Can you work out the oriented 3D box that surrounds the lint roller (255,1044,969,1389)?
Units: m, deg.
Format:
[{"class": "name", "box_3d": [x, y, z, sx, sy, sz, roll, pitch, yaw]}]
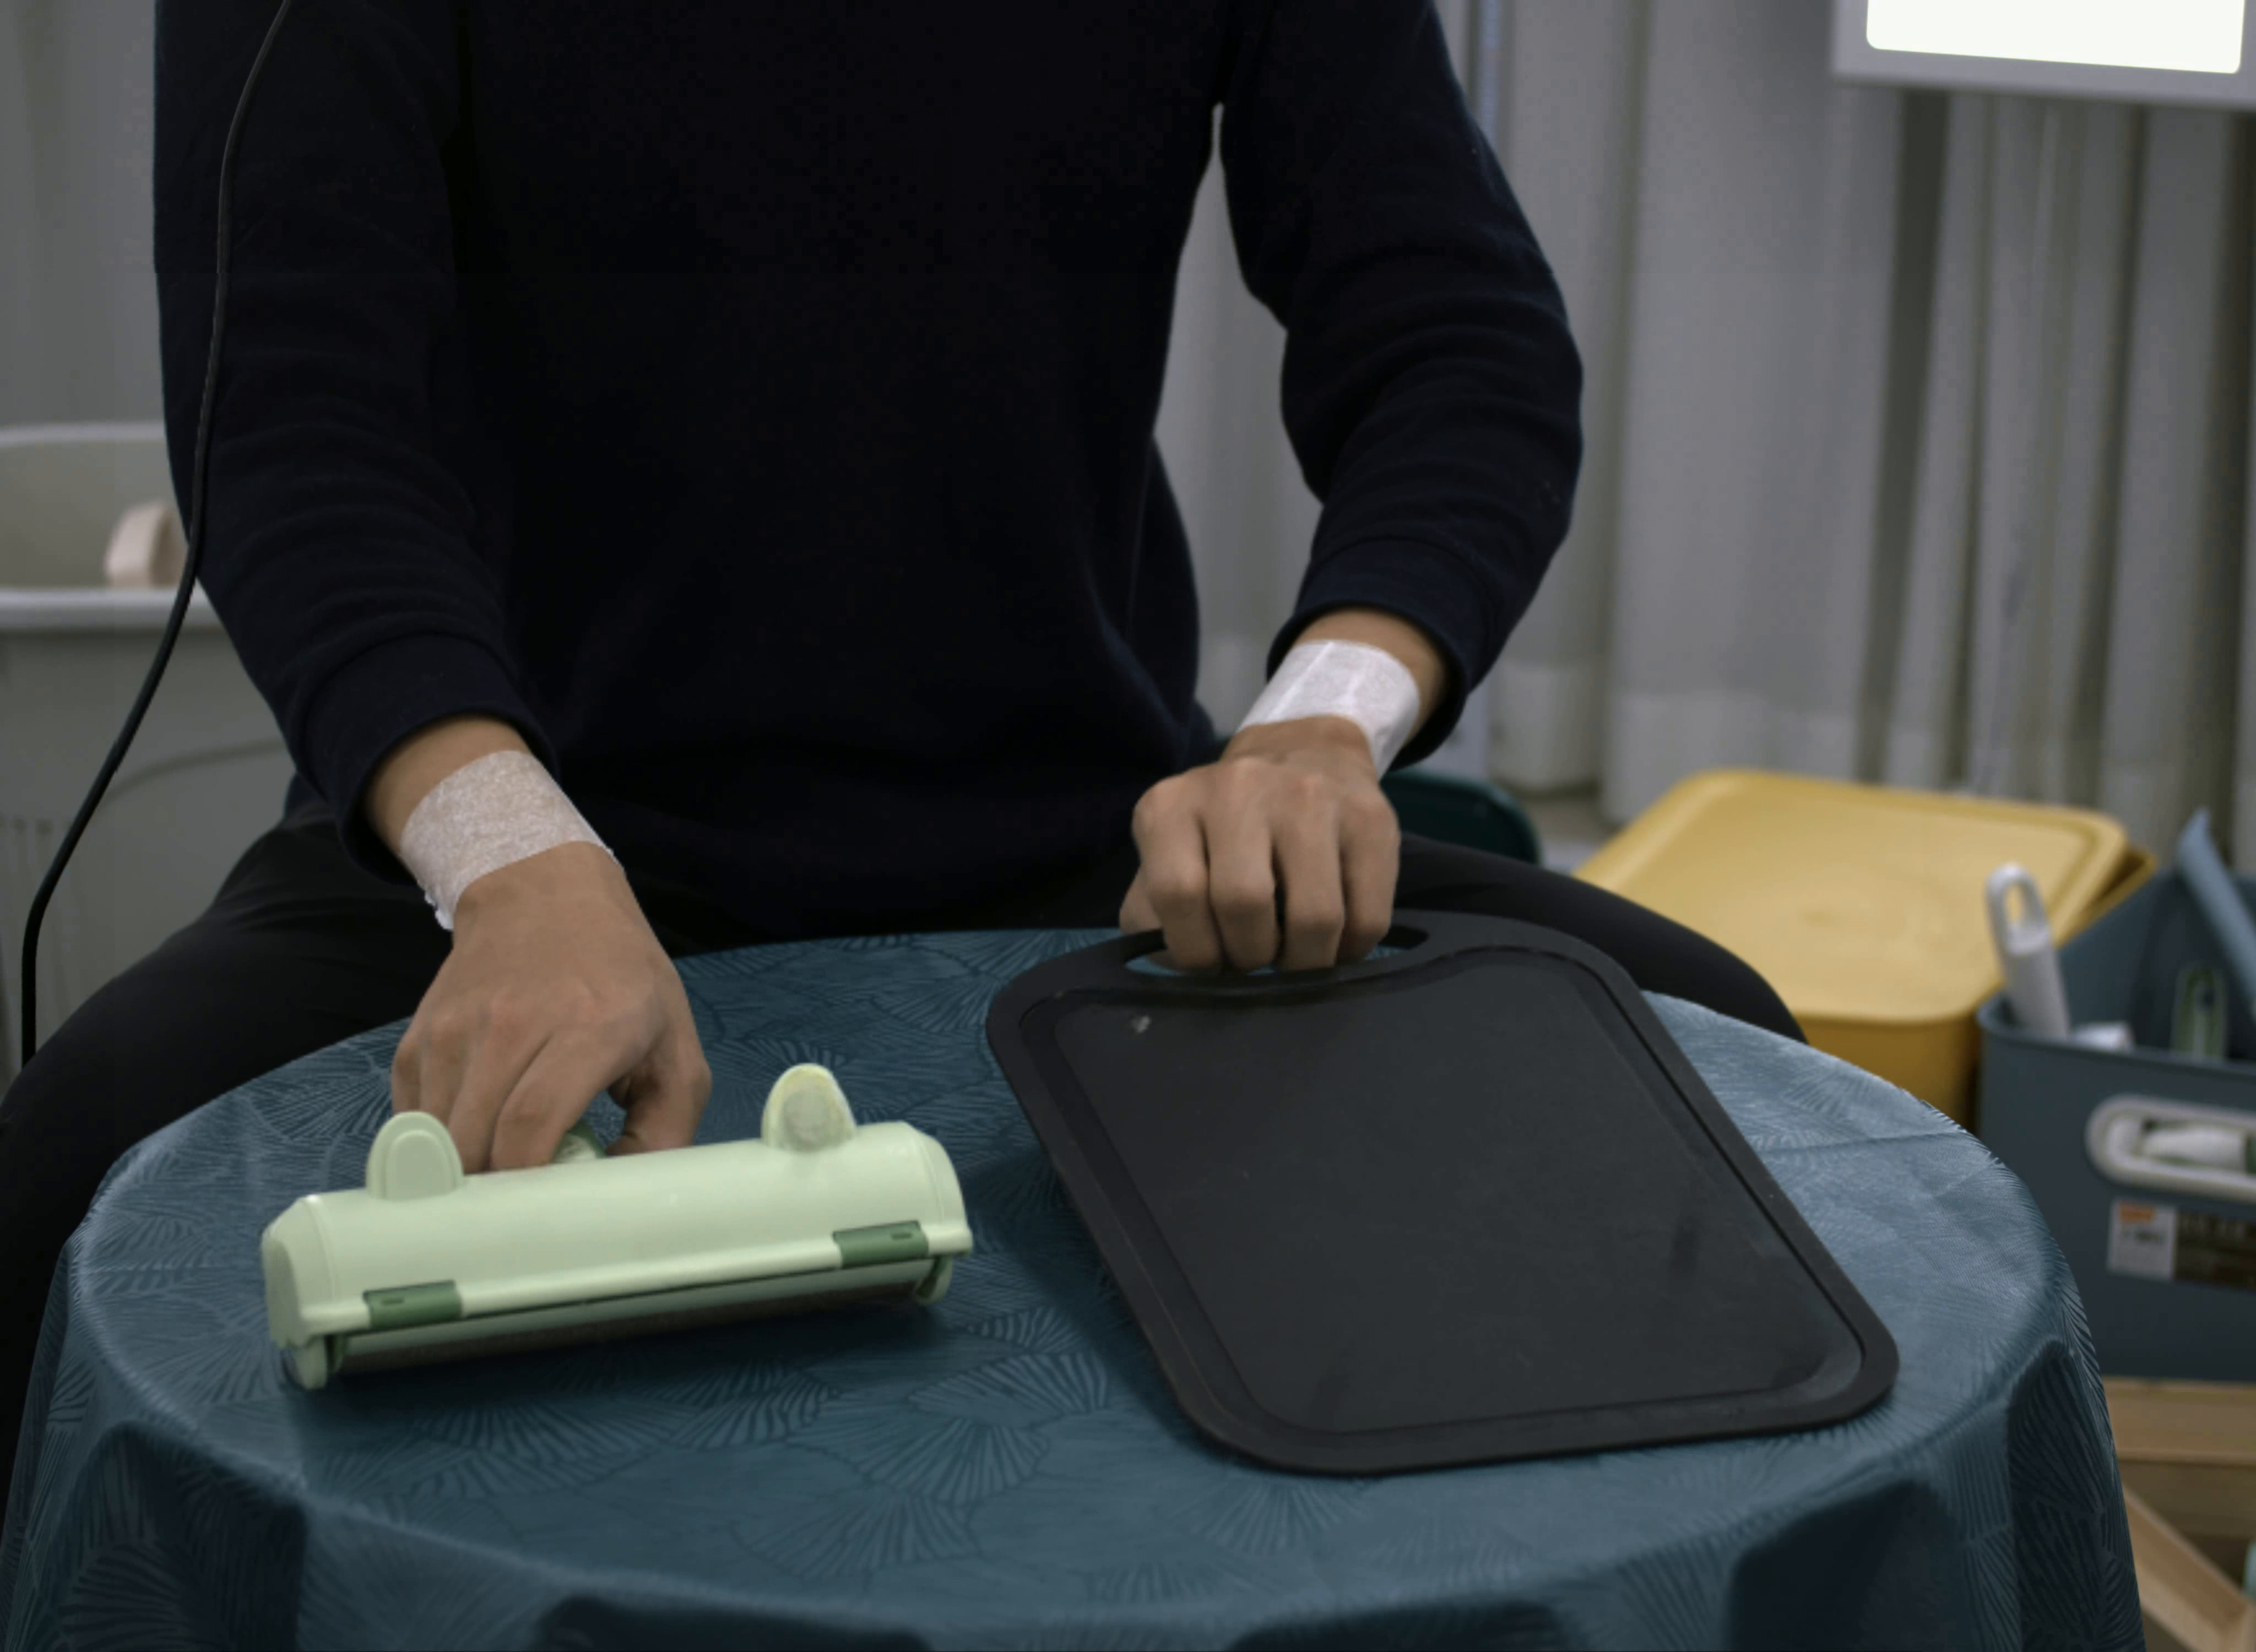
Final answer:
[{"class": "lint roller", "box_3d": [-0.164, 0.088, 1.526, 0.199, 0.083, 0.181, -6, 30, -21]}]

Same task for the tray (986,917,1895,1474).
[{"class": "tray", "box_3d": [0.082, 0.099, 1.558, 0.211, 0.010, 0.321, -4, 26, -15]}]
